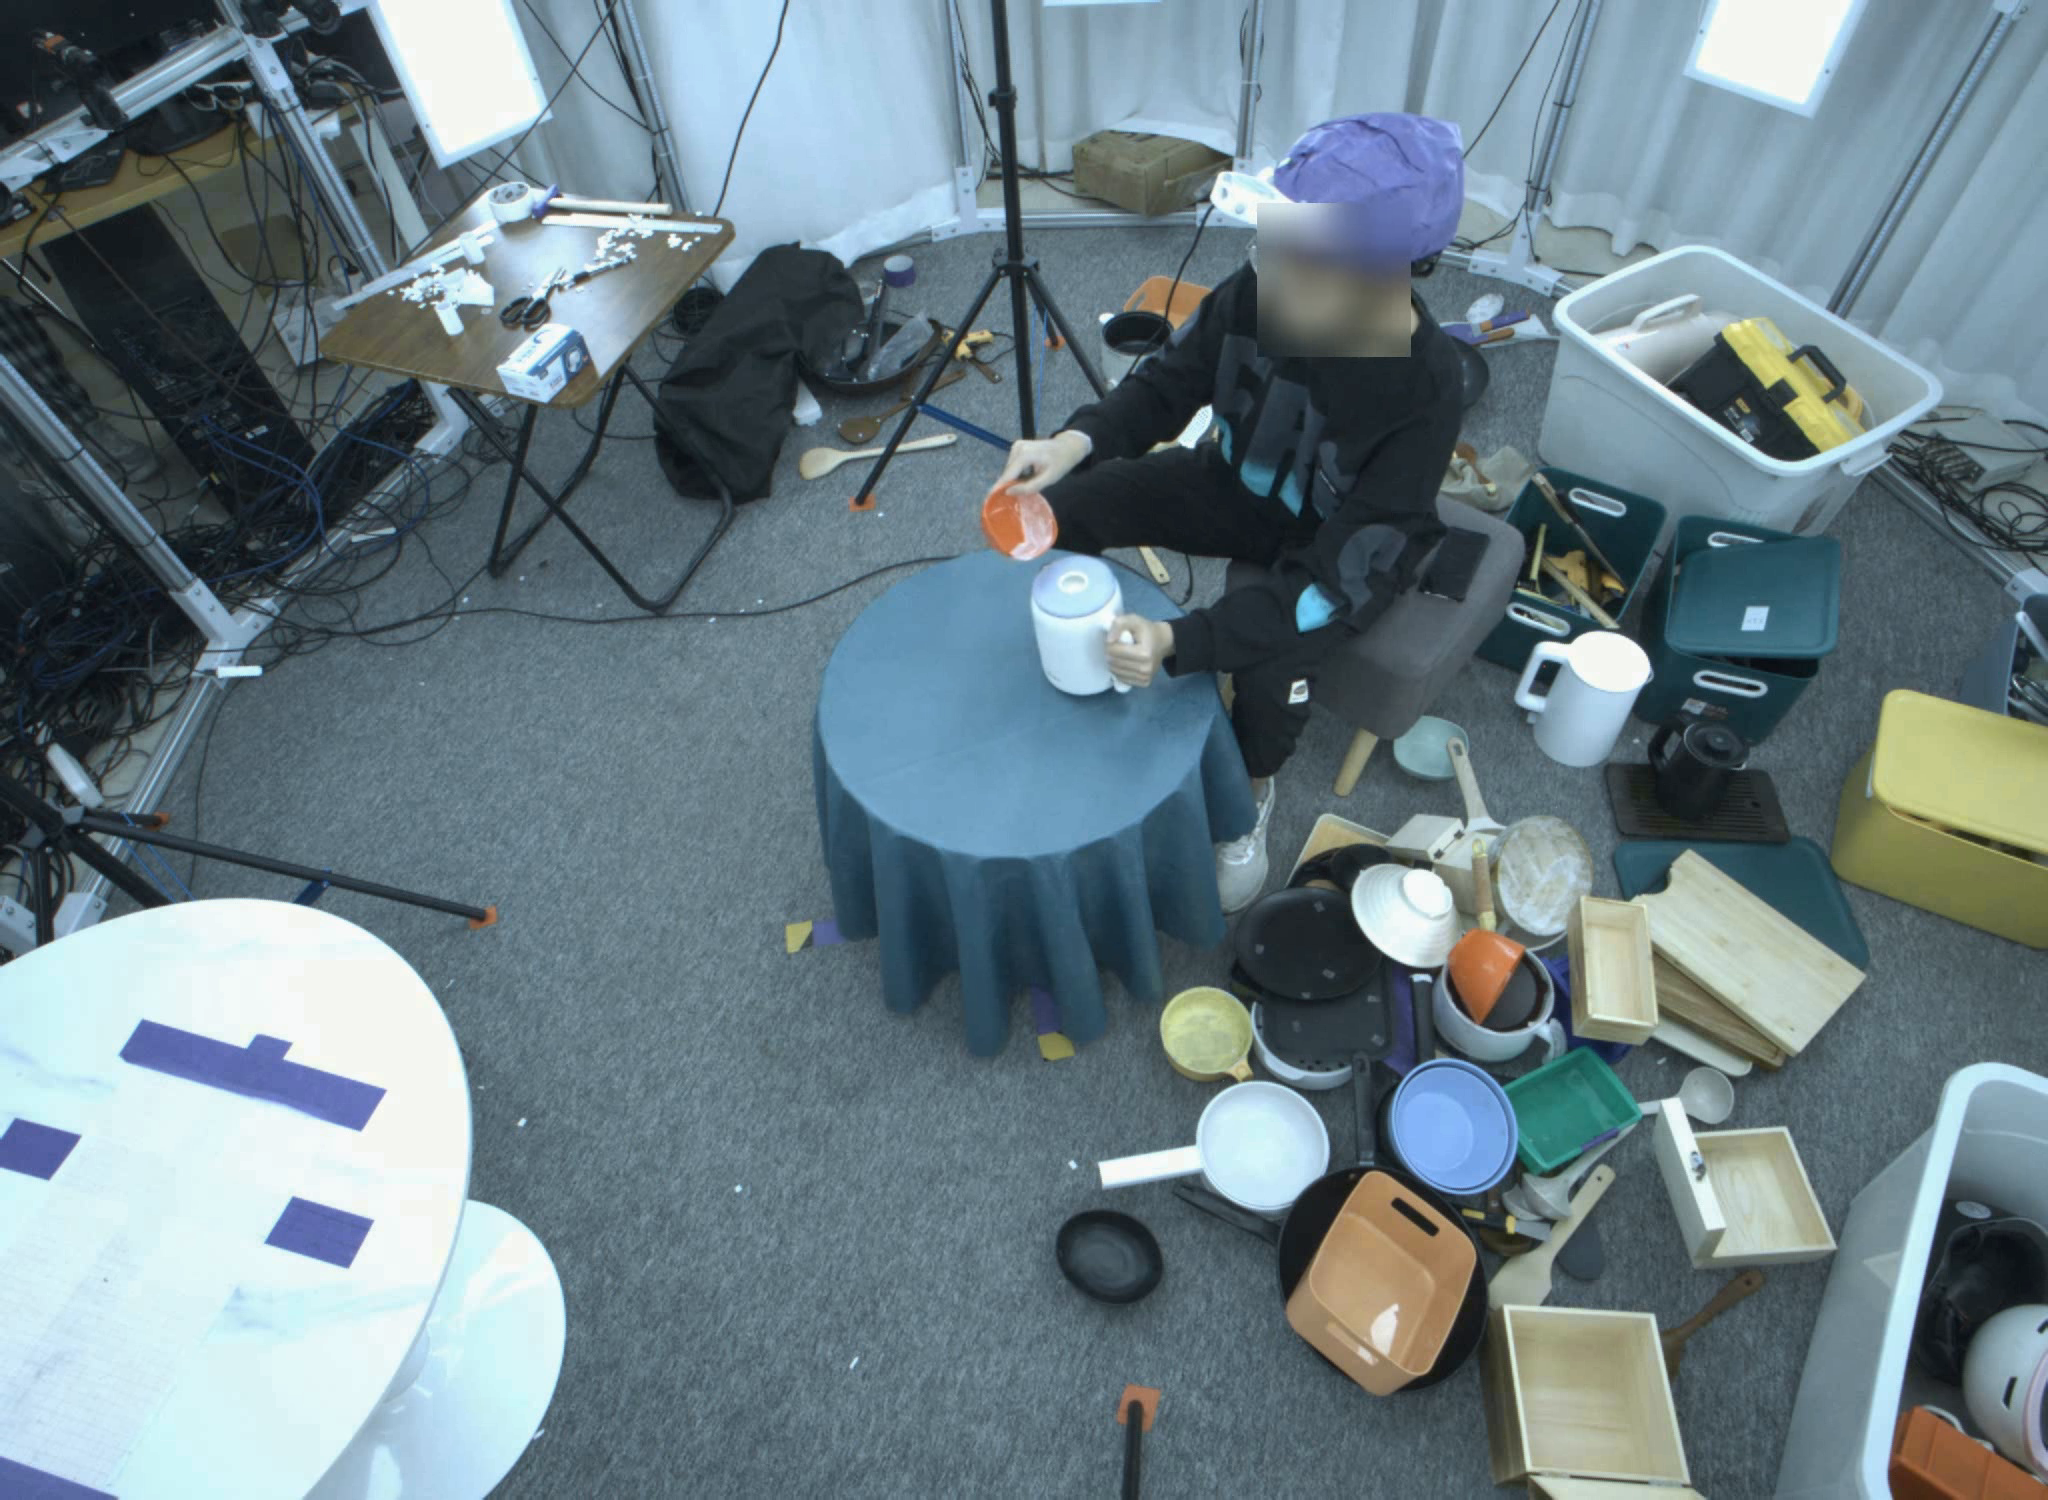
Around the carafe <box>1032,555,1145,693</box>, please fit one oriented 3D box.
[{"bbox_3d":[0.099,-0.169,1.781,0.133,0.185,0.187,-41,61,-18],"label":"carafe"}]

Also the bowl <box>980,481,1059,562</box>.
[{"bbox_3d":[-0.015,-0.313,1.712,0.121,0.050,0.118,8,76,-30],"label":"bowl"}]
